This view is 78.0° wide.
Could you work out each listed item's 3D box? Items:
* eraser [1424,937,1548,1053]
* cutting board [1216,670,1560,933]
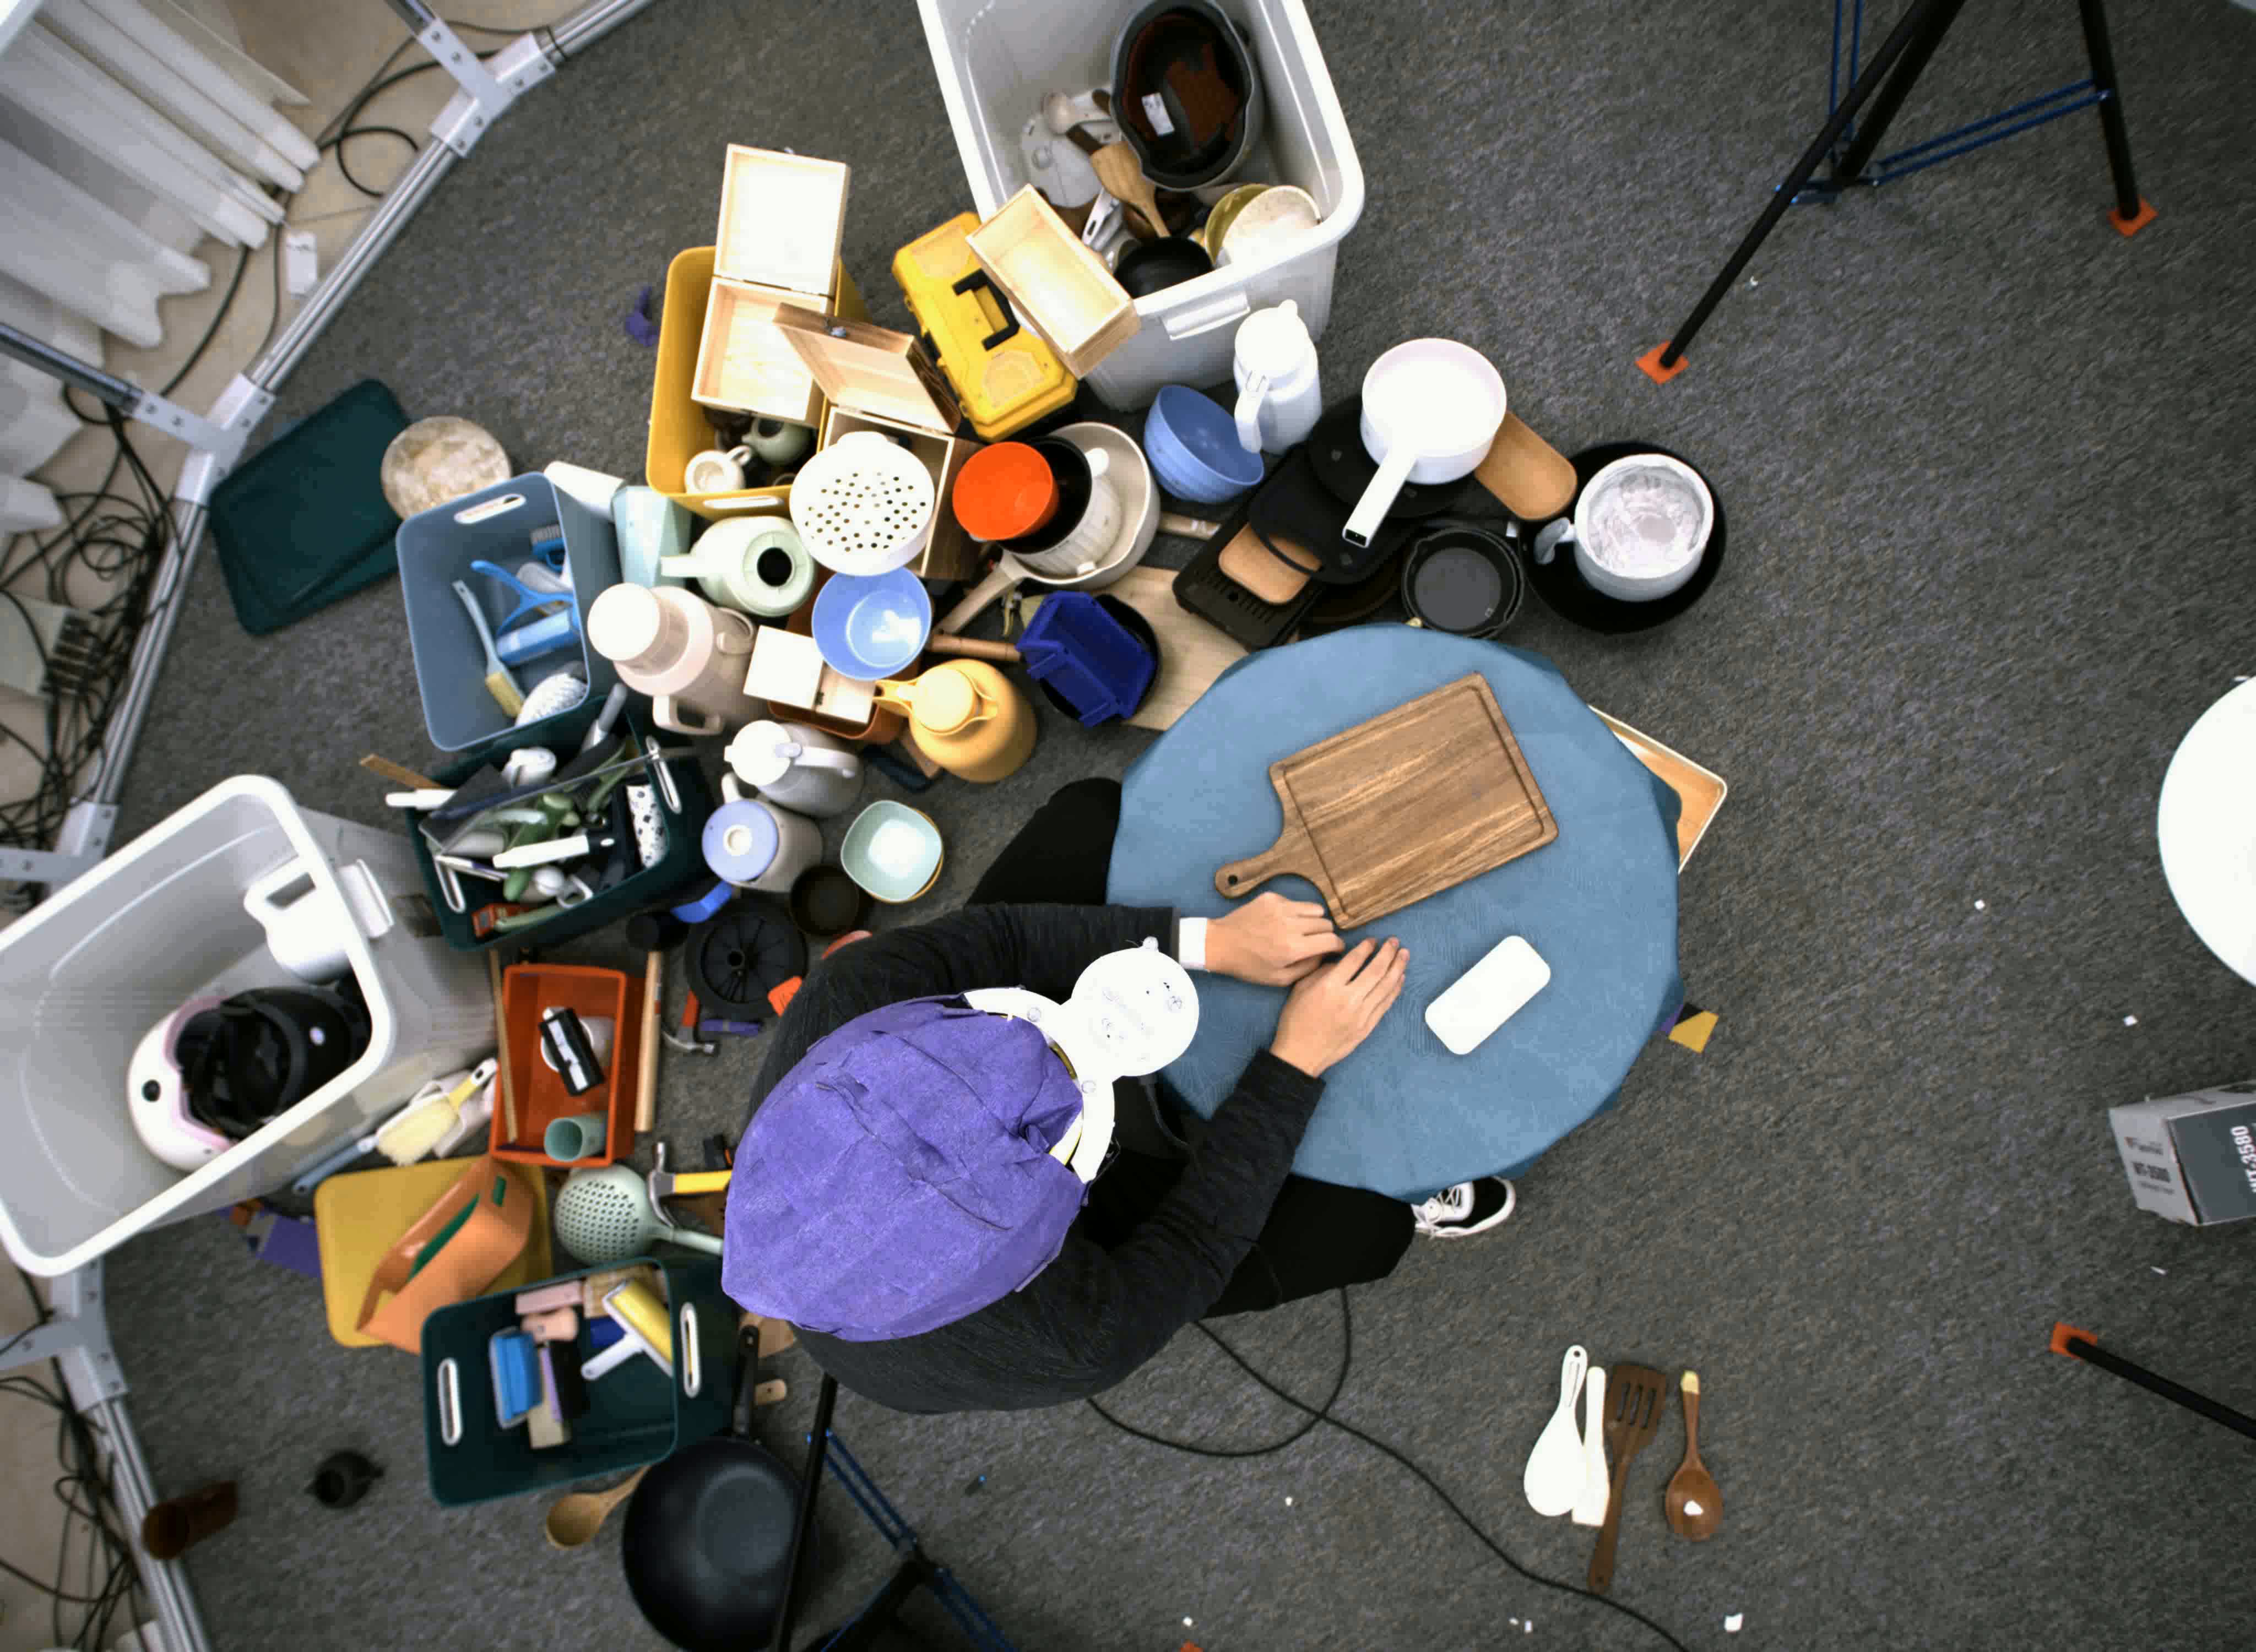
[{"bbox_3d":[0.368,0.171,1.421,0.132,0.034,0.063,-41,82,5],"label":"eraser"},{"bbox_3d":[0.253,-0.007,1.457,0.354,0.023,0.200,-25,83,8],"label":"cutting board"}]
